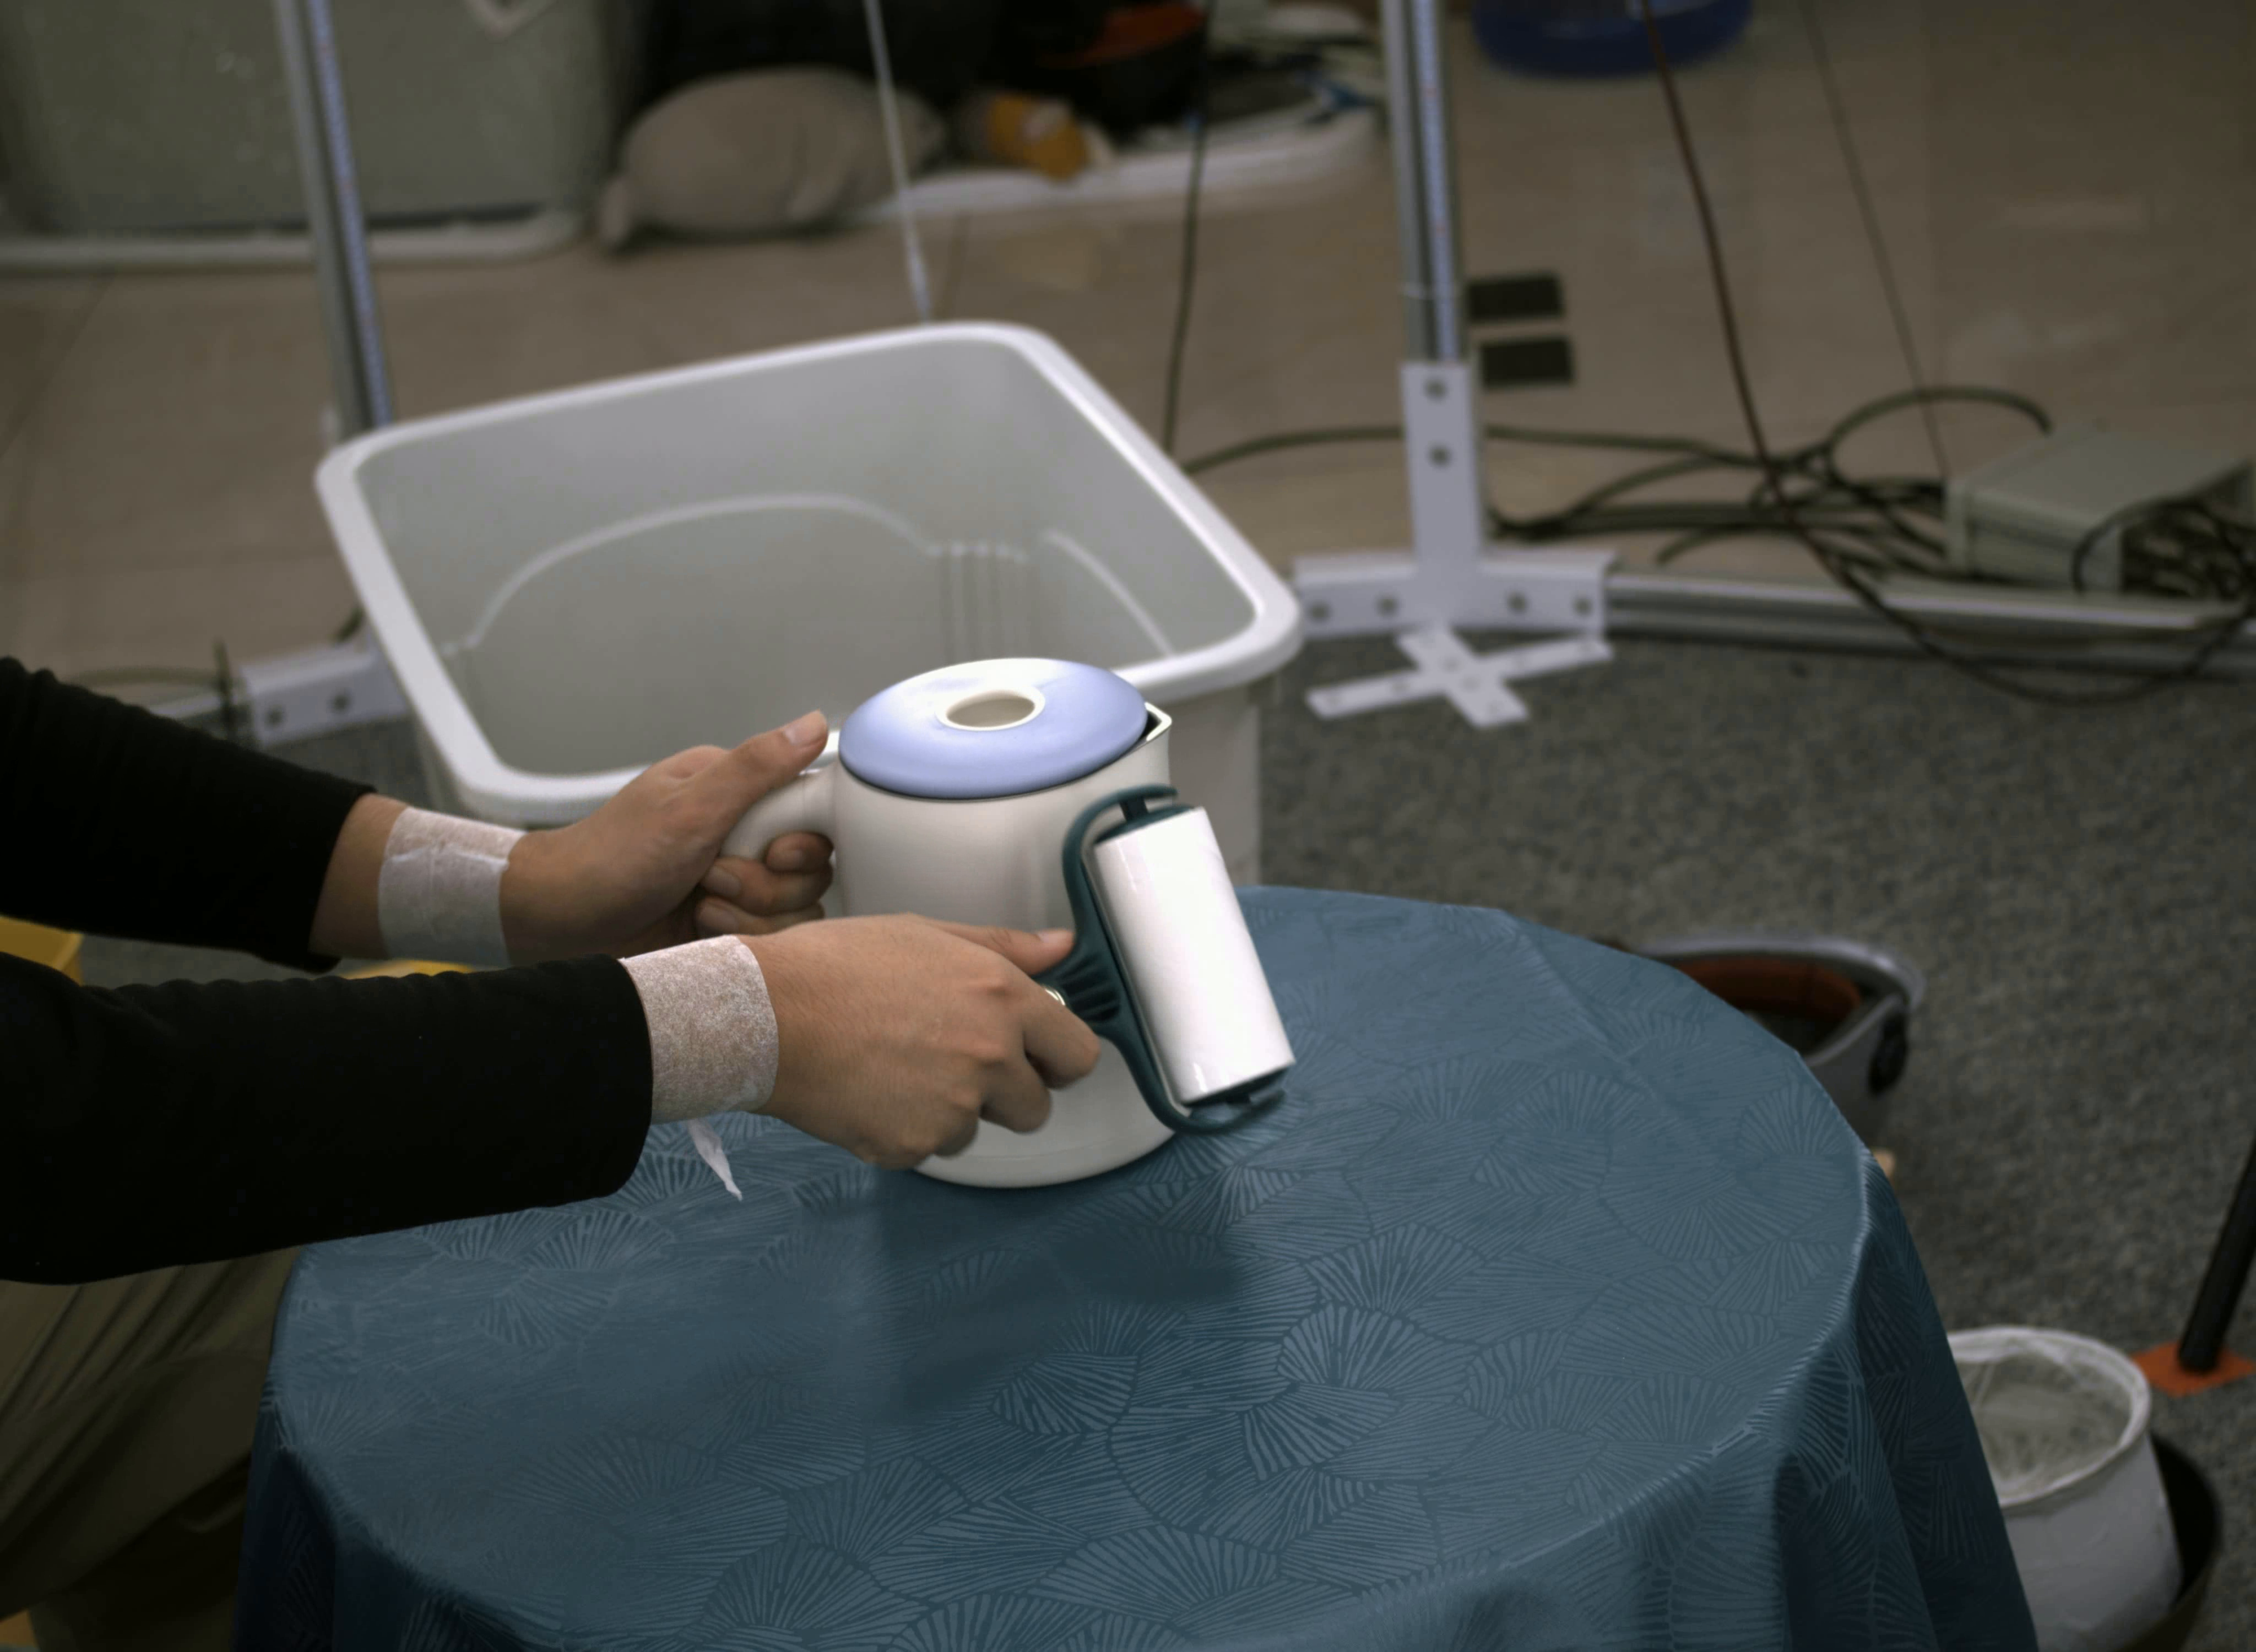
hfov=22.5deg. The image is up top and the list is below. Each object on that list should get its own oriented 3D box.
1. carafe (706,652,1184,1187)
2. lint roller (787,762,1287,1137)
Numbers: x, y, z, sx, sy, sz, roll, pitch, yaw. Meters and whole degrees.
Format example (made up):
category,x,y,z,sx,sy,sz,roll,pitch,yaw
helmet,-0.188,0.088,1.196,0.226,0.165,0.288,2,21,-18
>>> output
category,x,y,z,sx,sy,sz,roll,pitch,yaw
carafe,-0.067,0.038,2.175,0.191,0.185,0.130,-6,25,6
lint roller,-0.037,0.067,2.045,0.179,0.134,0.048,-20,2,-25
